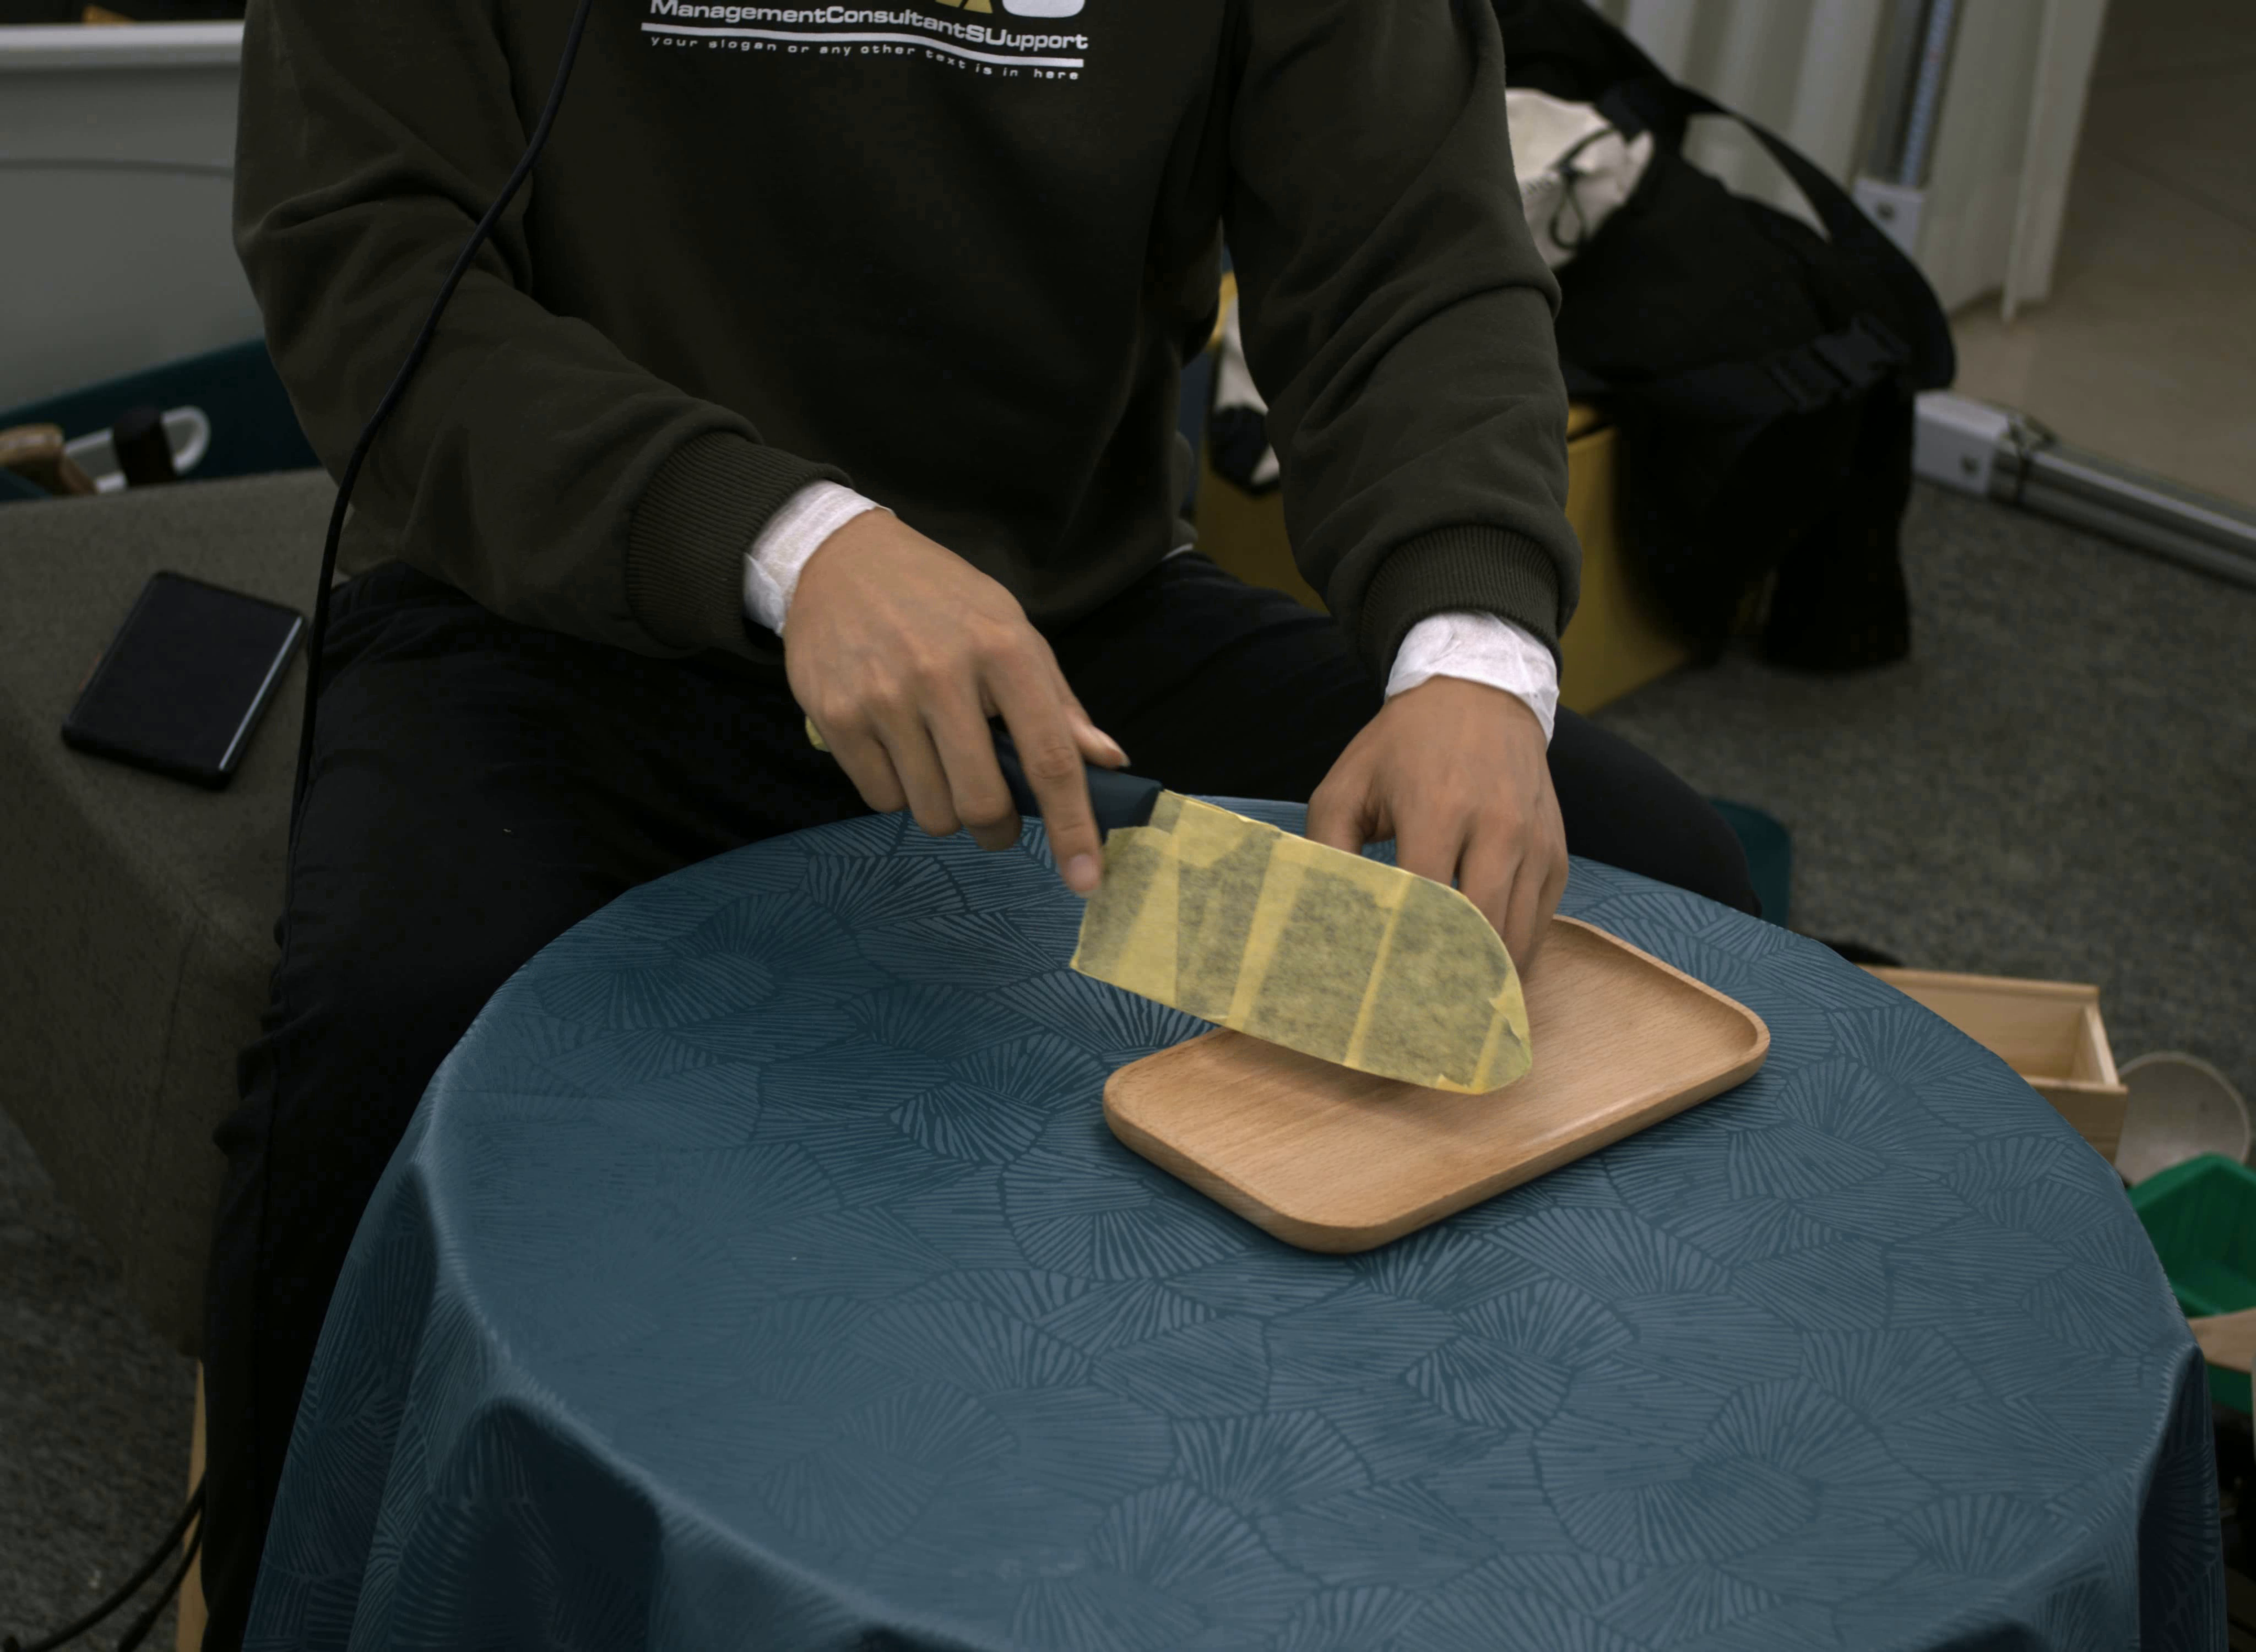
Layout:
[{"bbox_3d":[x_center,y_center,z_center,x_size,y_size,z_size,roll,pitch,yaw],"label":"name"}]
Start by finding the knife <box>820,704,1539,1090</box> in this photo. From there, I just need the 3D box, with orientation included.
[{"bbox_3d":[0.014,0.023,1.877,0.290,0.081,0.027,23,9,19],"label":"knife"}]

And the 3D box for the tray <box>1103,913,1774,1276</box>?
[{"bbox_3d":[0.112,0.093,1.881,0.249,0.023,0.131,-22,35,-39],"label":"tray"}]
